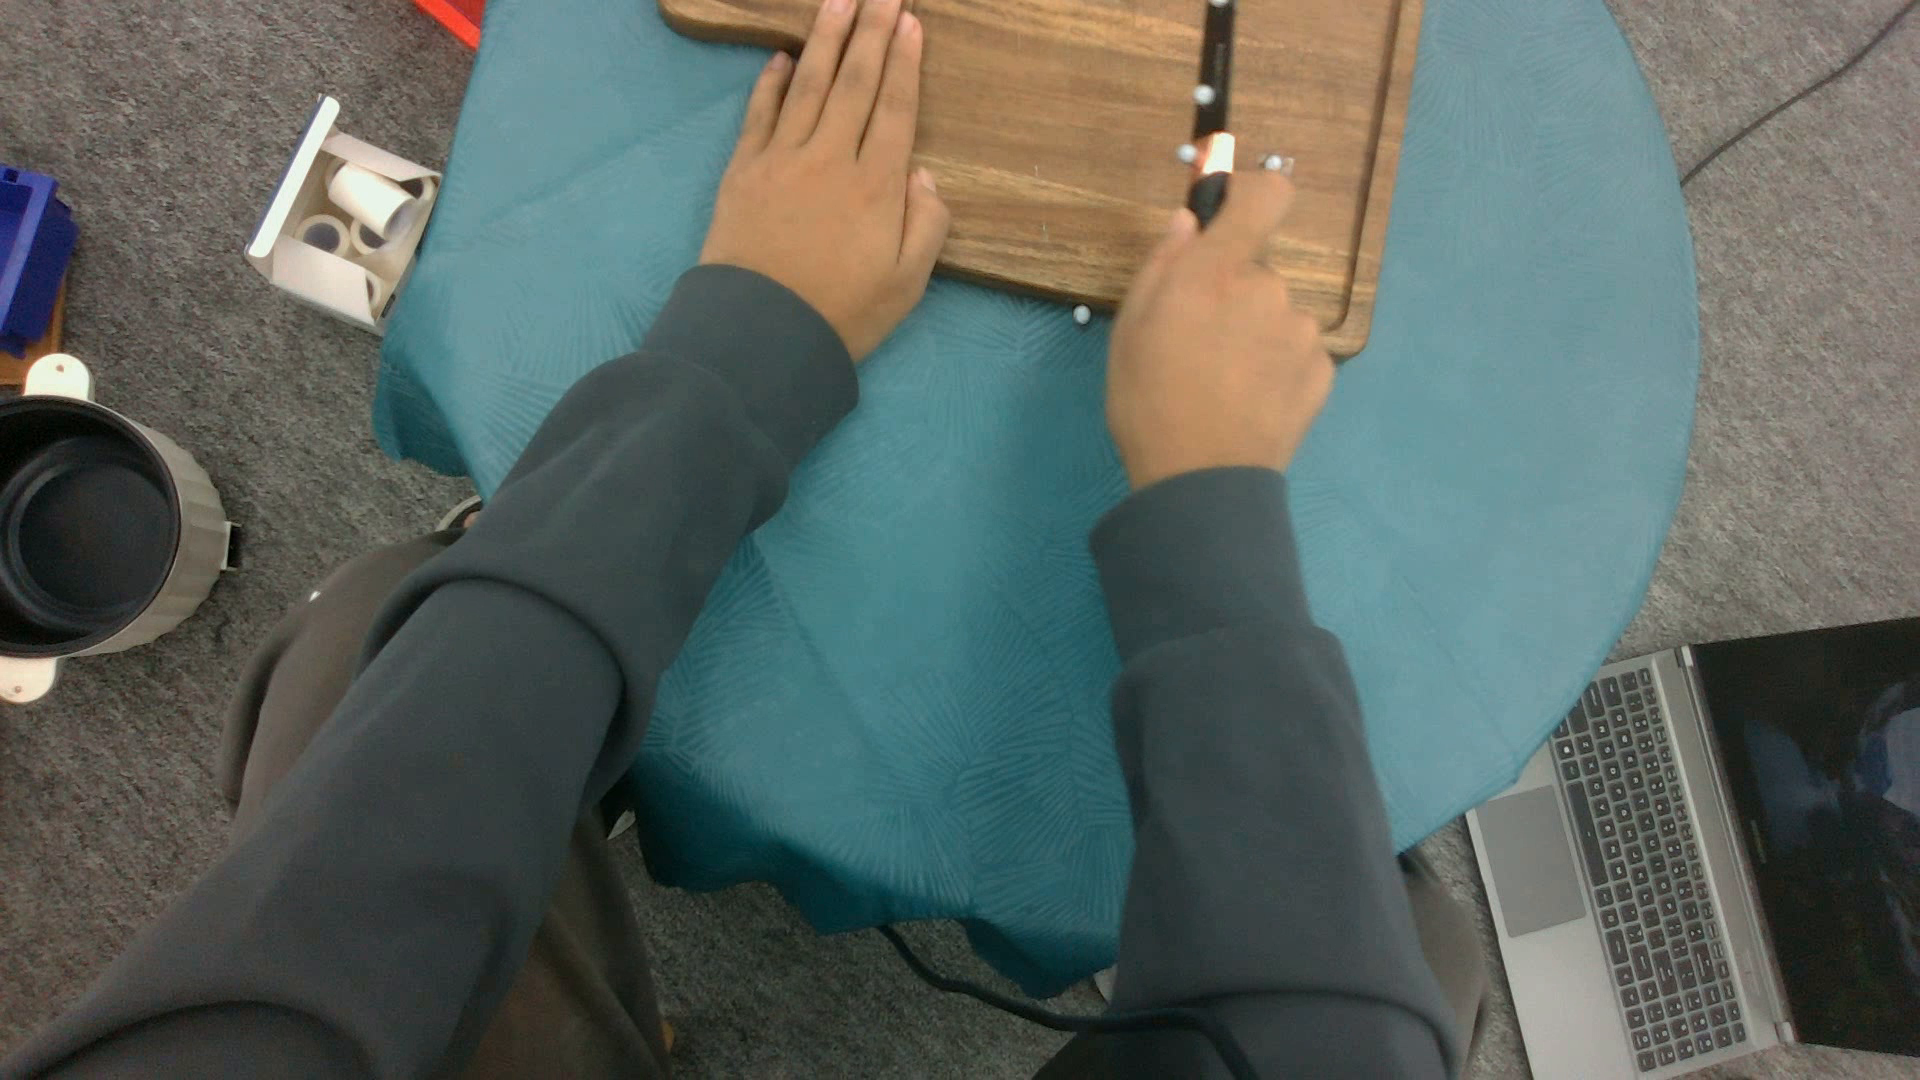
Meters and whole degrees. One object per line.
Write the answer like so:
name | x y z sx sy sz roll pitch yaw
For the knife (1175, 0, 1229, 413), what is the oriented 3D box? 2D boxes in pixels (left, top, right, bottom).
knife | 0.105 -0.167 0.599 0.017 0.026 0.225 4 86 -35

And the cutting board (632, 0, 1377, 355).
cutting board | 0.024 -0.208 0.651 0.352 0.023 0.201 8 82 -6
